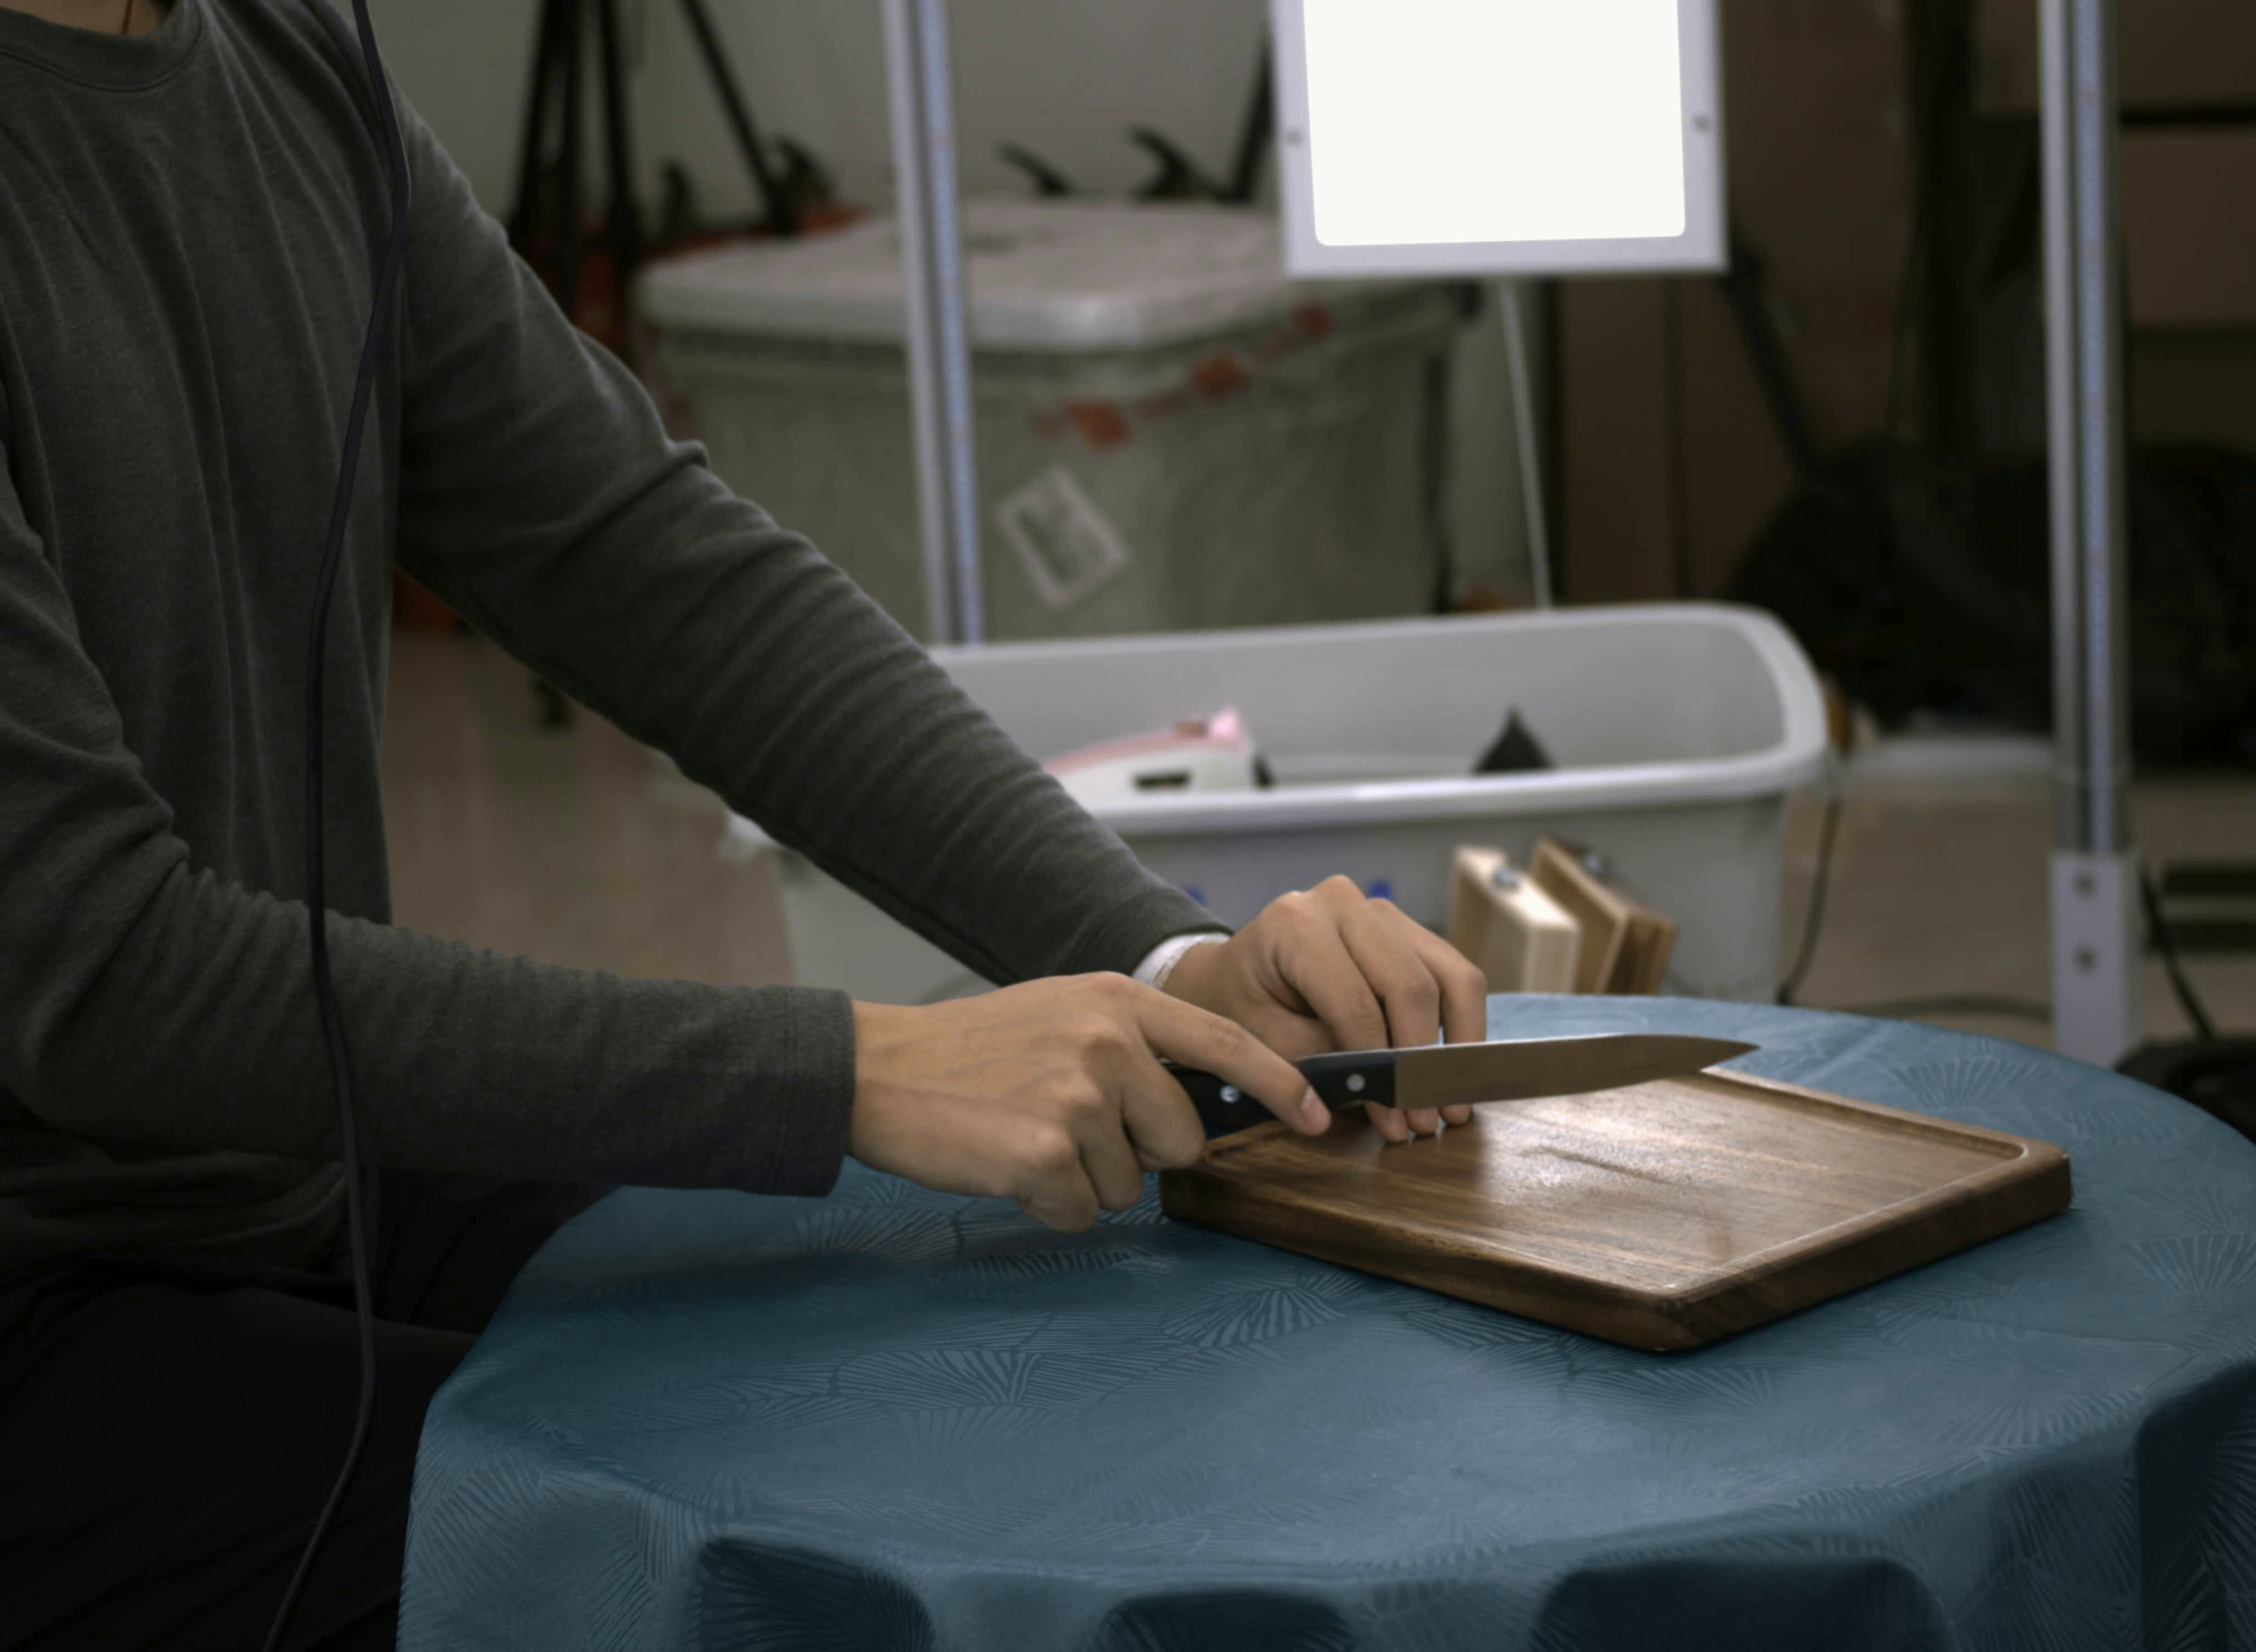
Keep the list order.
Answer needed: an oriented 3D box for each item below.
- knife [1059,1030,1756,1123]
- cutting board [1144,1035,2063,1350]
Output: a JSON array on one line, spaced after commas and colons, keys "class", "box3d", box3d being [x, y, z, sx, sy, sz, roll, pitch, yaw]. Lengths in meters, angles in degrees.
[{"class": "knife", "box3d": [0.095, 0.081, 1.848, 0.237, 0.024, 0.016, -4, 19, -1]}, {"class": "cutting board", "box3d": [0.129, 0.112, 1.873, 0.196, 0.023, 0.359, -15, 16, -37]}]
